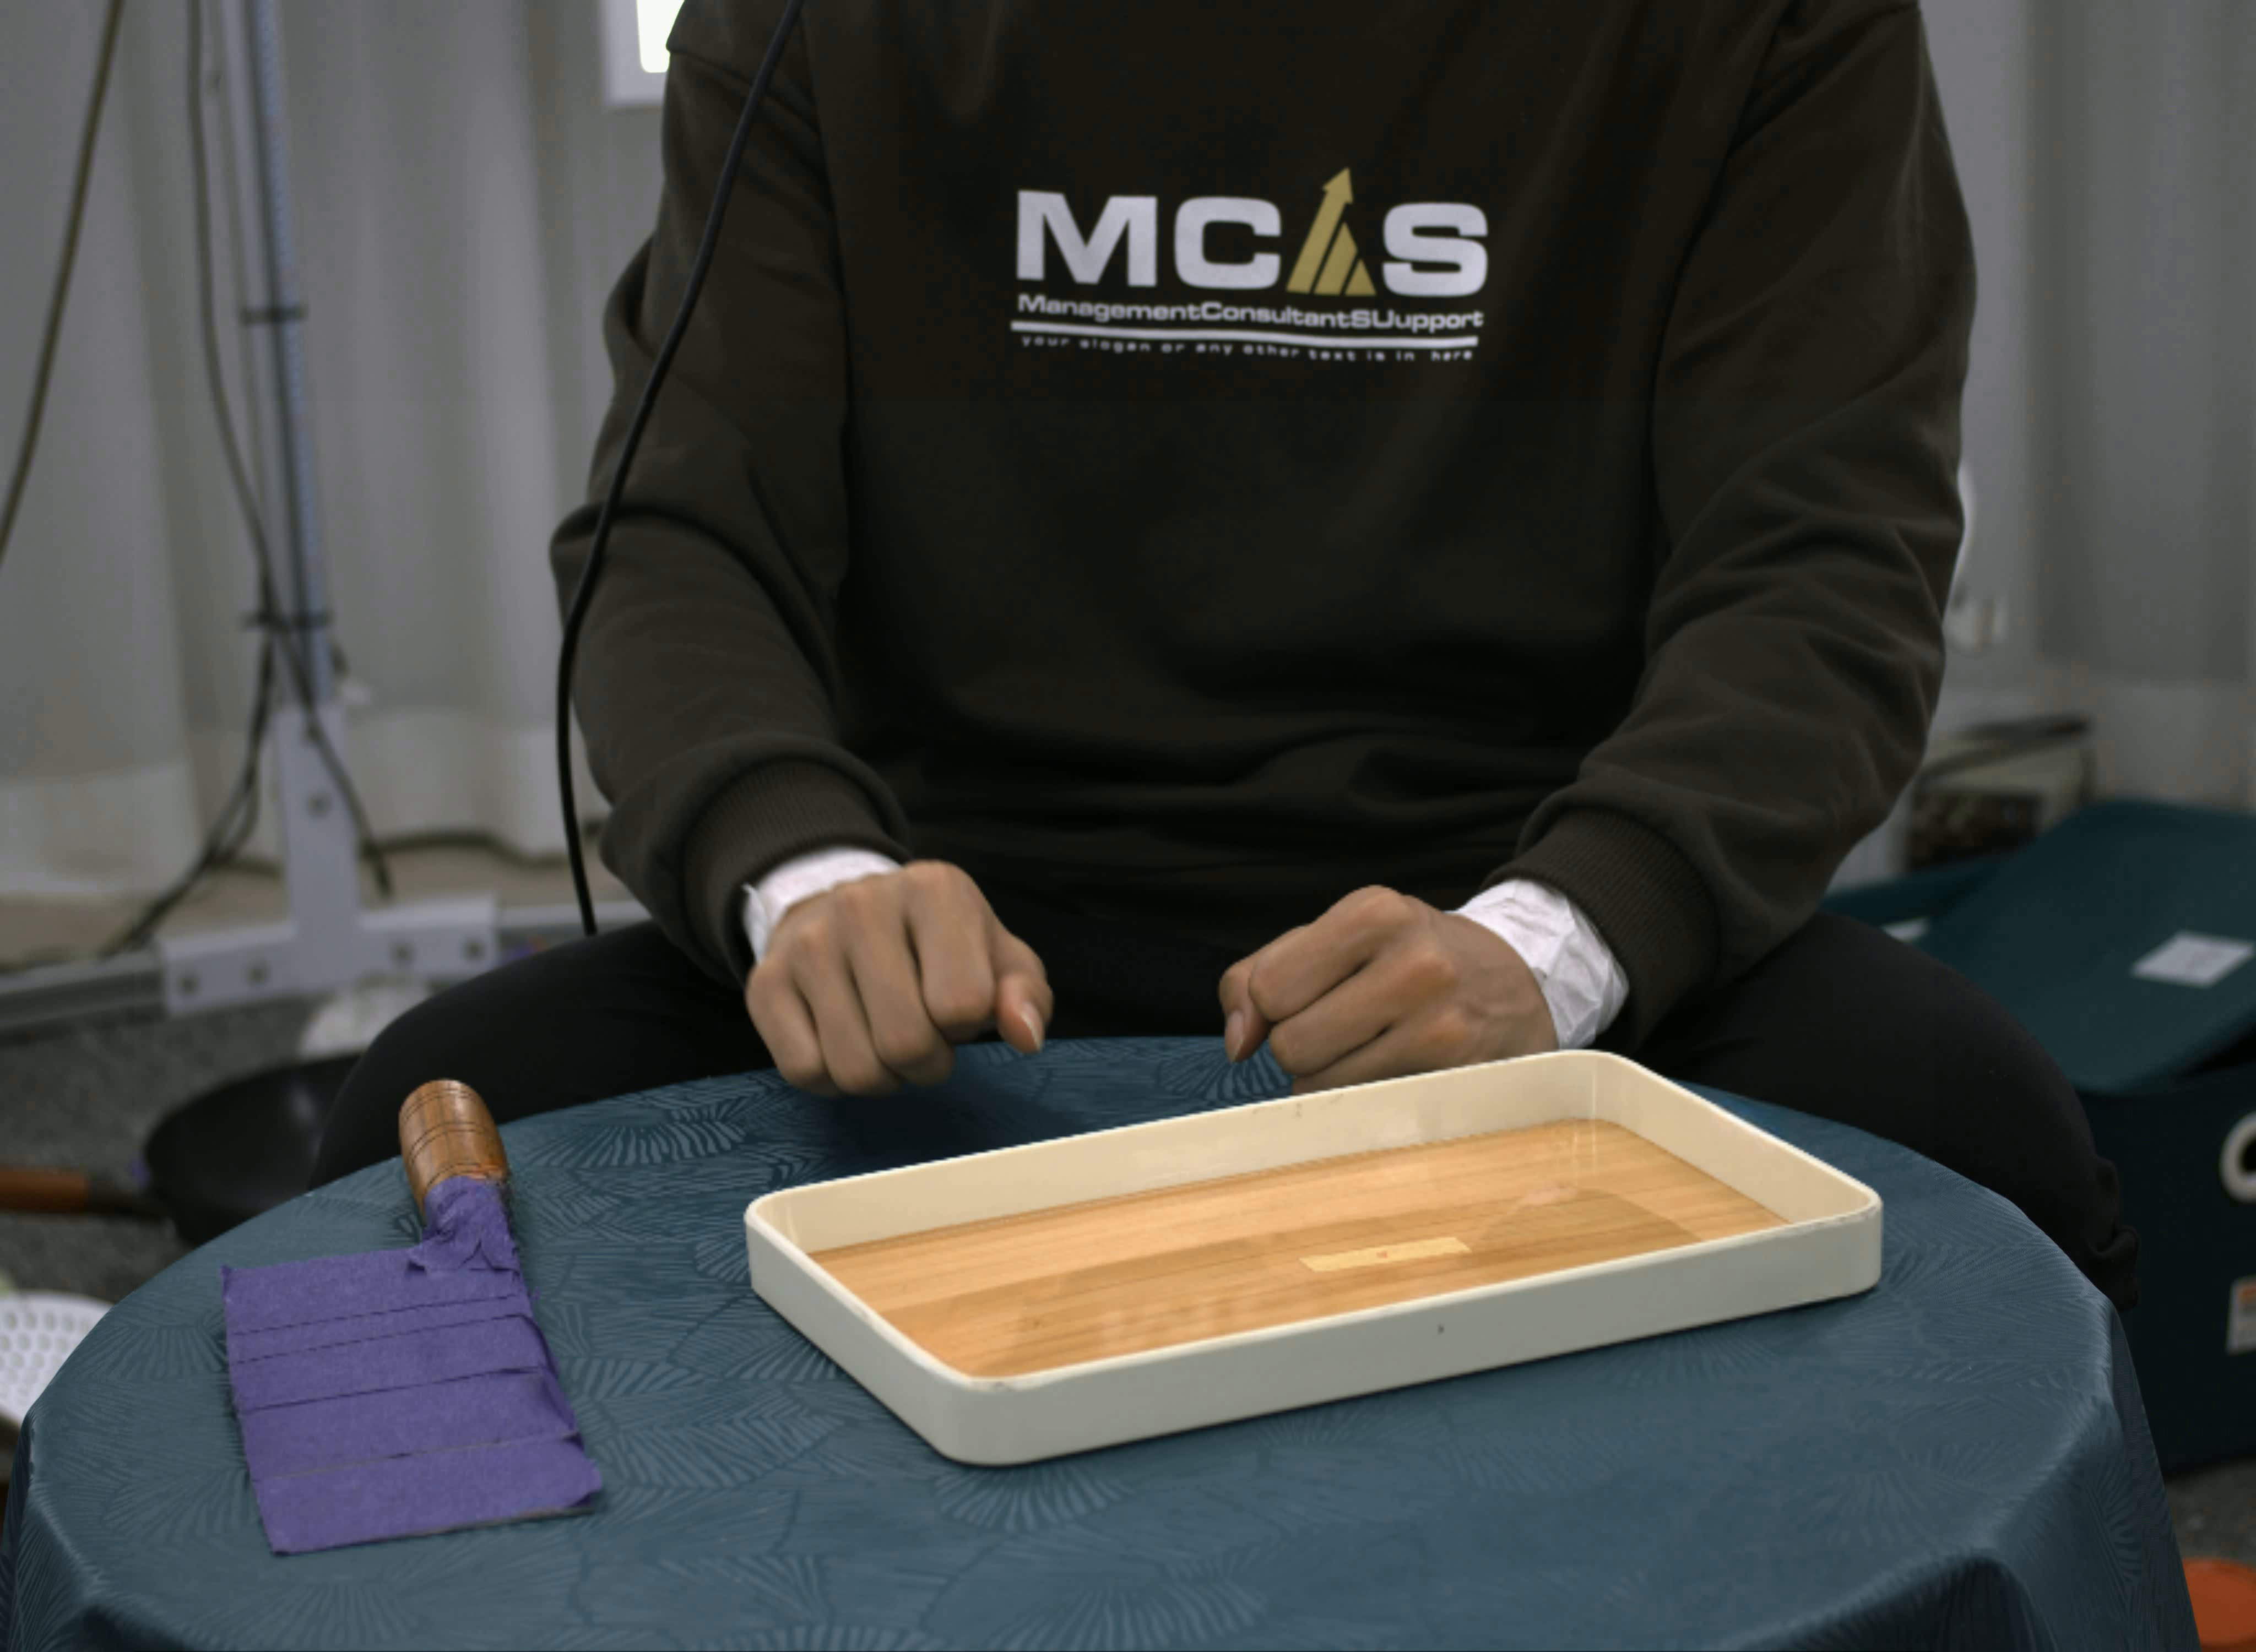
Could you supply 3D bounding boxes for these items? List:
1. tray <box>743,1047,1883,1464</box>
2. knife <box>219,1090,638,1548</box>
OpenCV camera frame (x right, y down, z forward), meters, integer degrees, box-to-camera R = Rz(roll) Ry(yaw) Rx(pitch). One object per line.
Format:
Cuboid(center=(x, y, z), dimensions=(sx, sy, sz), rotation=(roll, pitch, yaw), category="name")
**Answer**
Cuboid(center=(0.053, 0.124, 1.622), dimensions=(0.299, 0.027, 0.193), rotation=(-9, 16, -22), category="tray")
Cuboid(center=(-0.218, 0.141, 1.608), dimensions=(0.103, 0.032, 0.318), rotation=(-6, 15, -12), category="knife")
